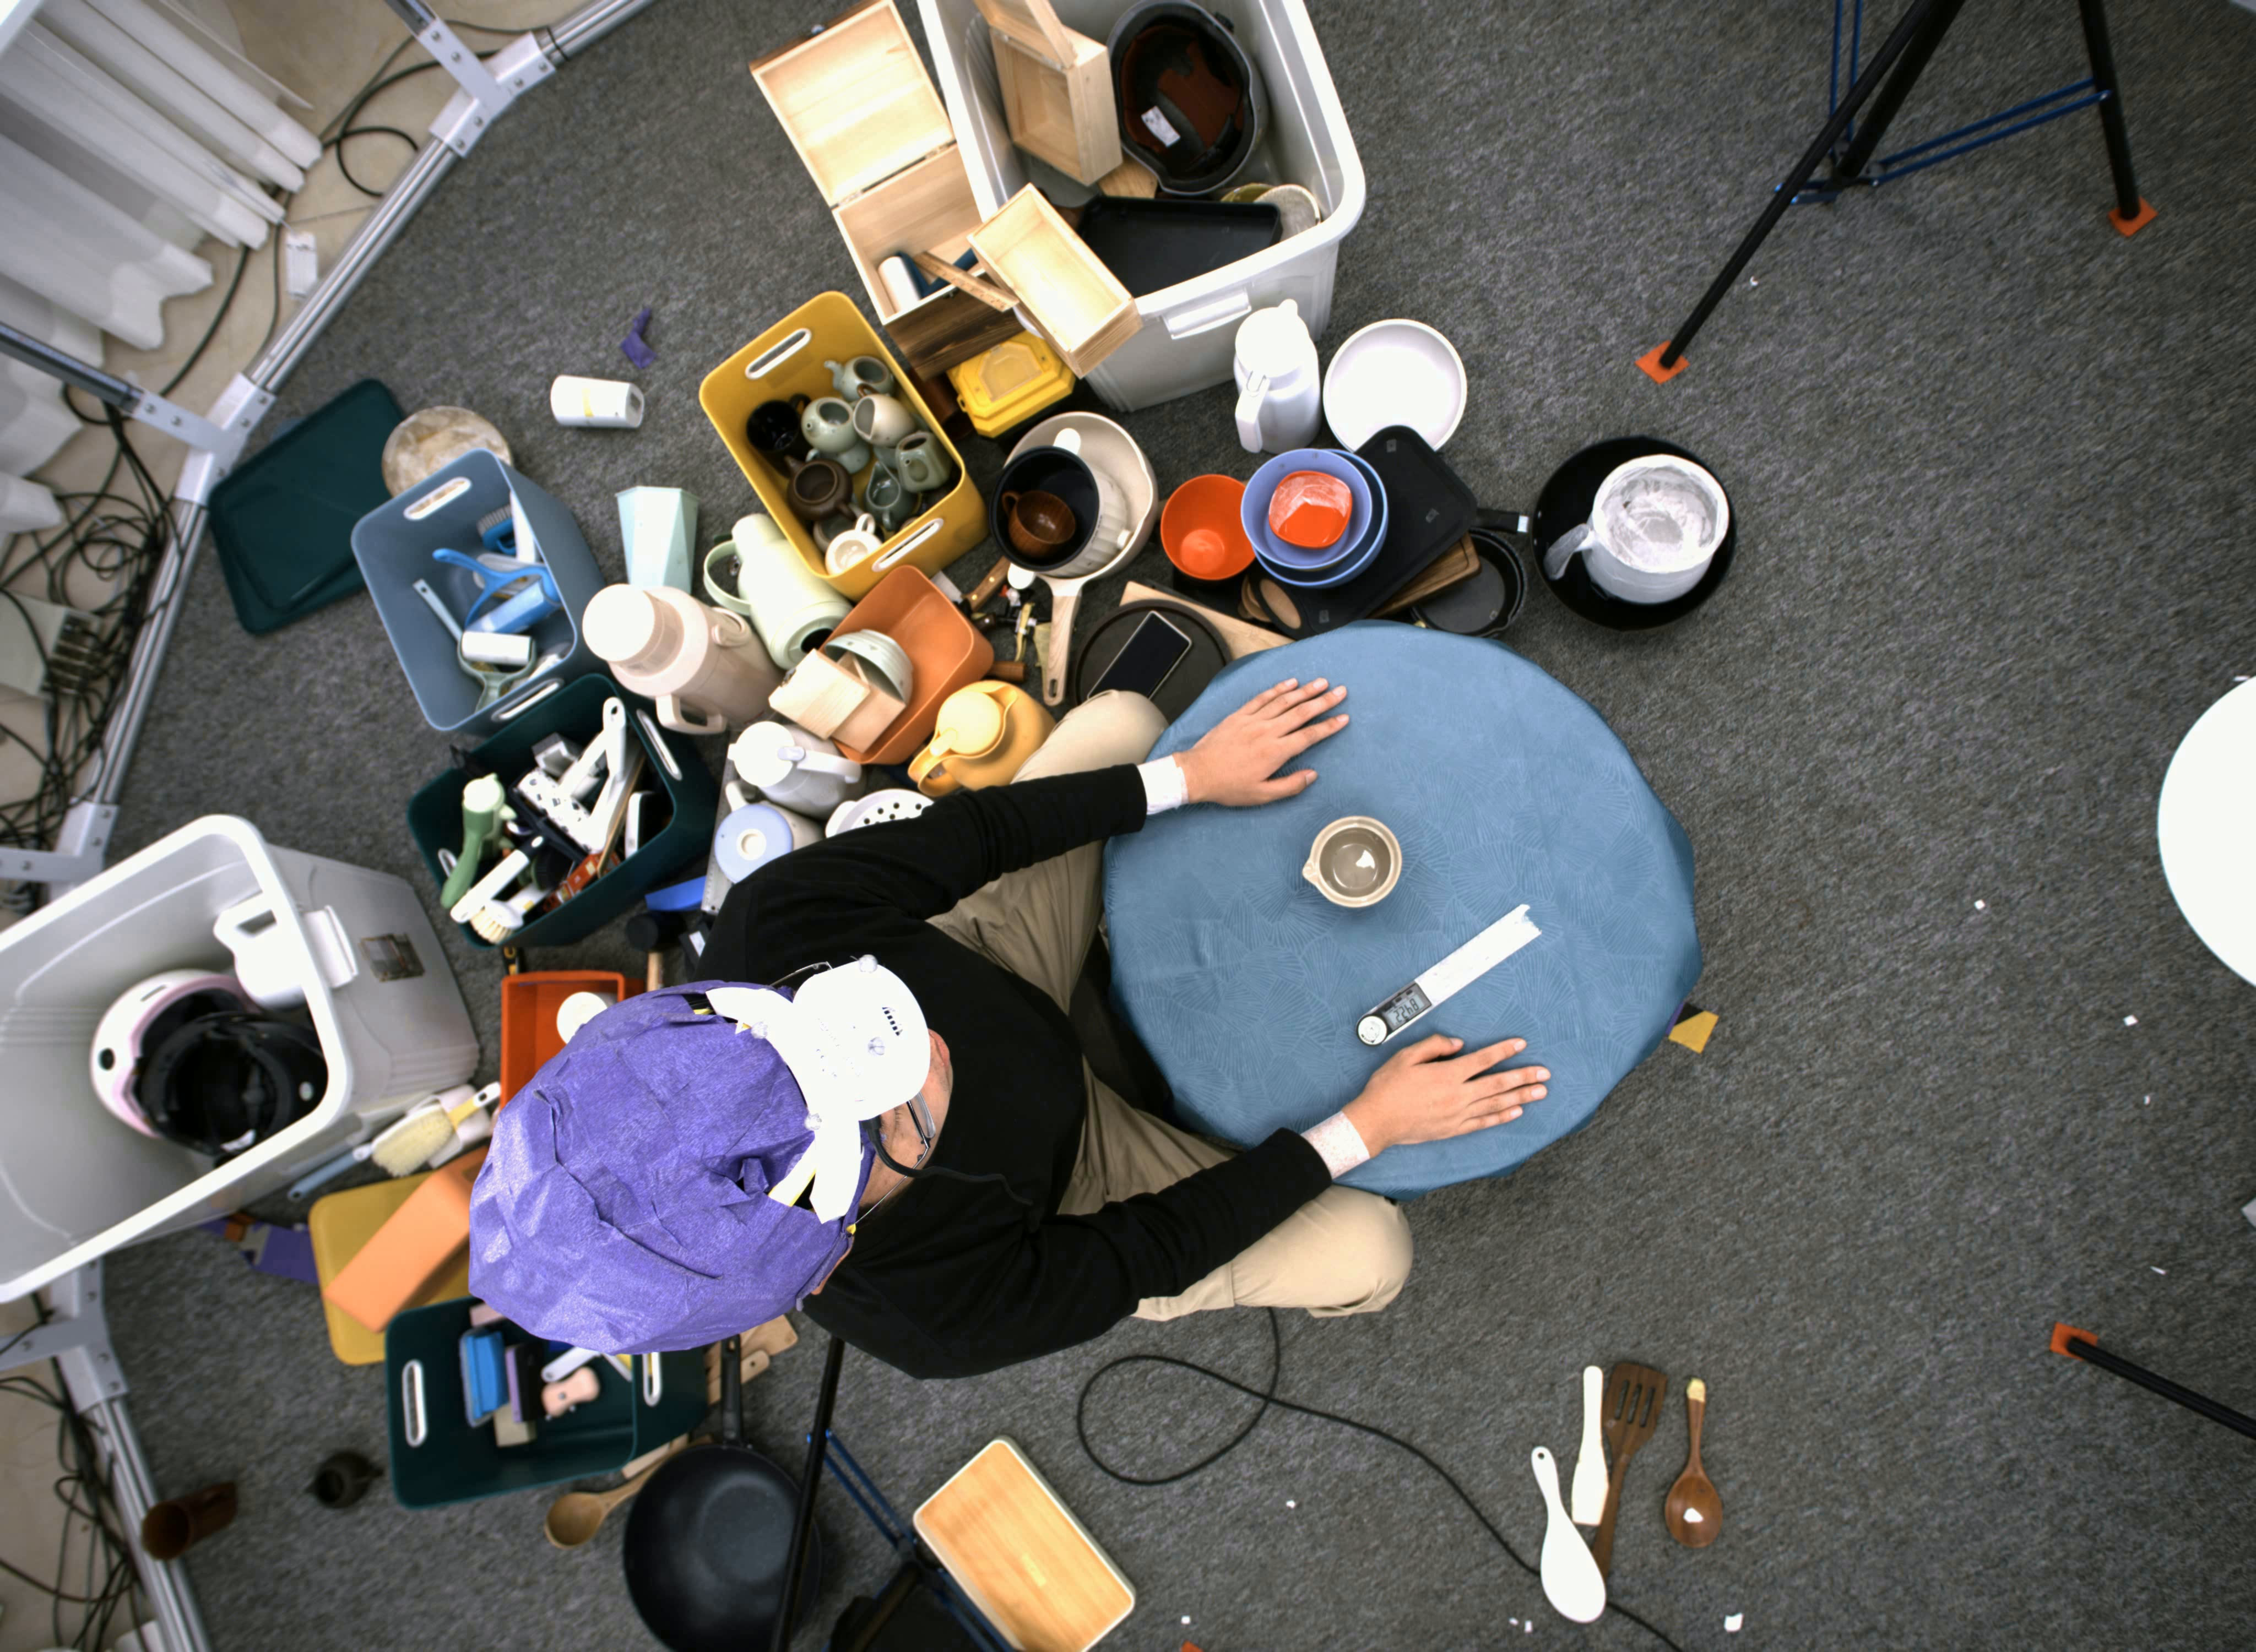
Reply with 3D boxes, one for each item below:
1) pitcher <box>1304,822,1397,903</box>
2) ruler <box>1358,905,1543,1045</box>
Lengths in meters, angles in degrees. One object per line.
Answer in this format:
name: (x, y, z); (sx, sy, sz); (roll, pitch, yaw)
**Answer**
pitcher: (0.231, 0.039, 1.432); (0.096, 0.071, 0.083); (-13, 84, 9)
ruler: (0.332, 0.157, 1.432); (0.219, 0.024, 0.038); (-36, 87, 8)
